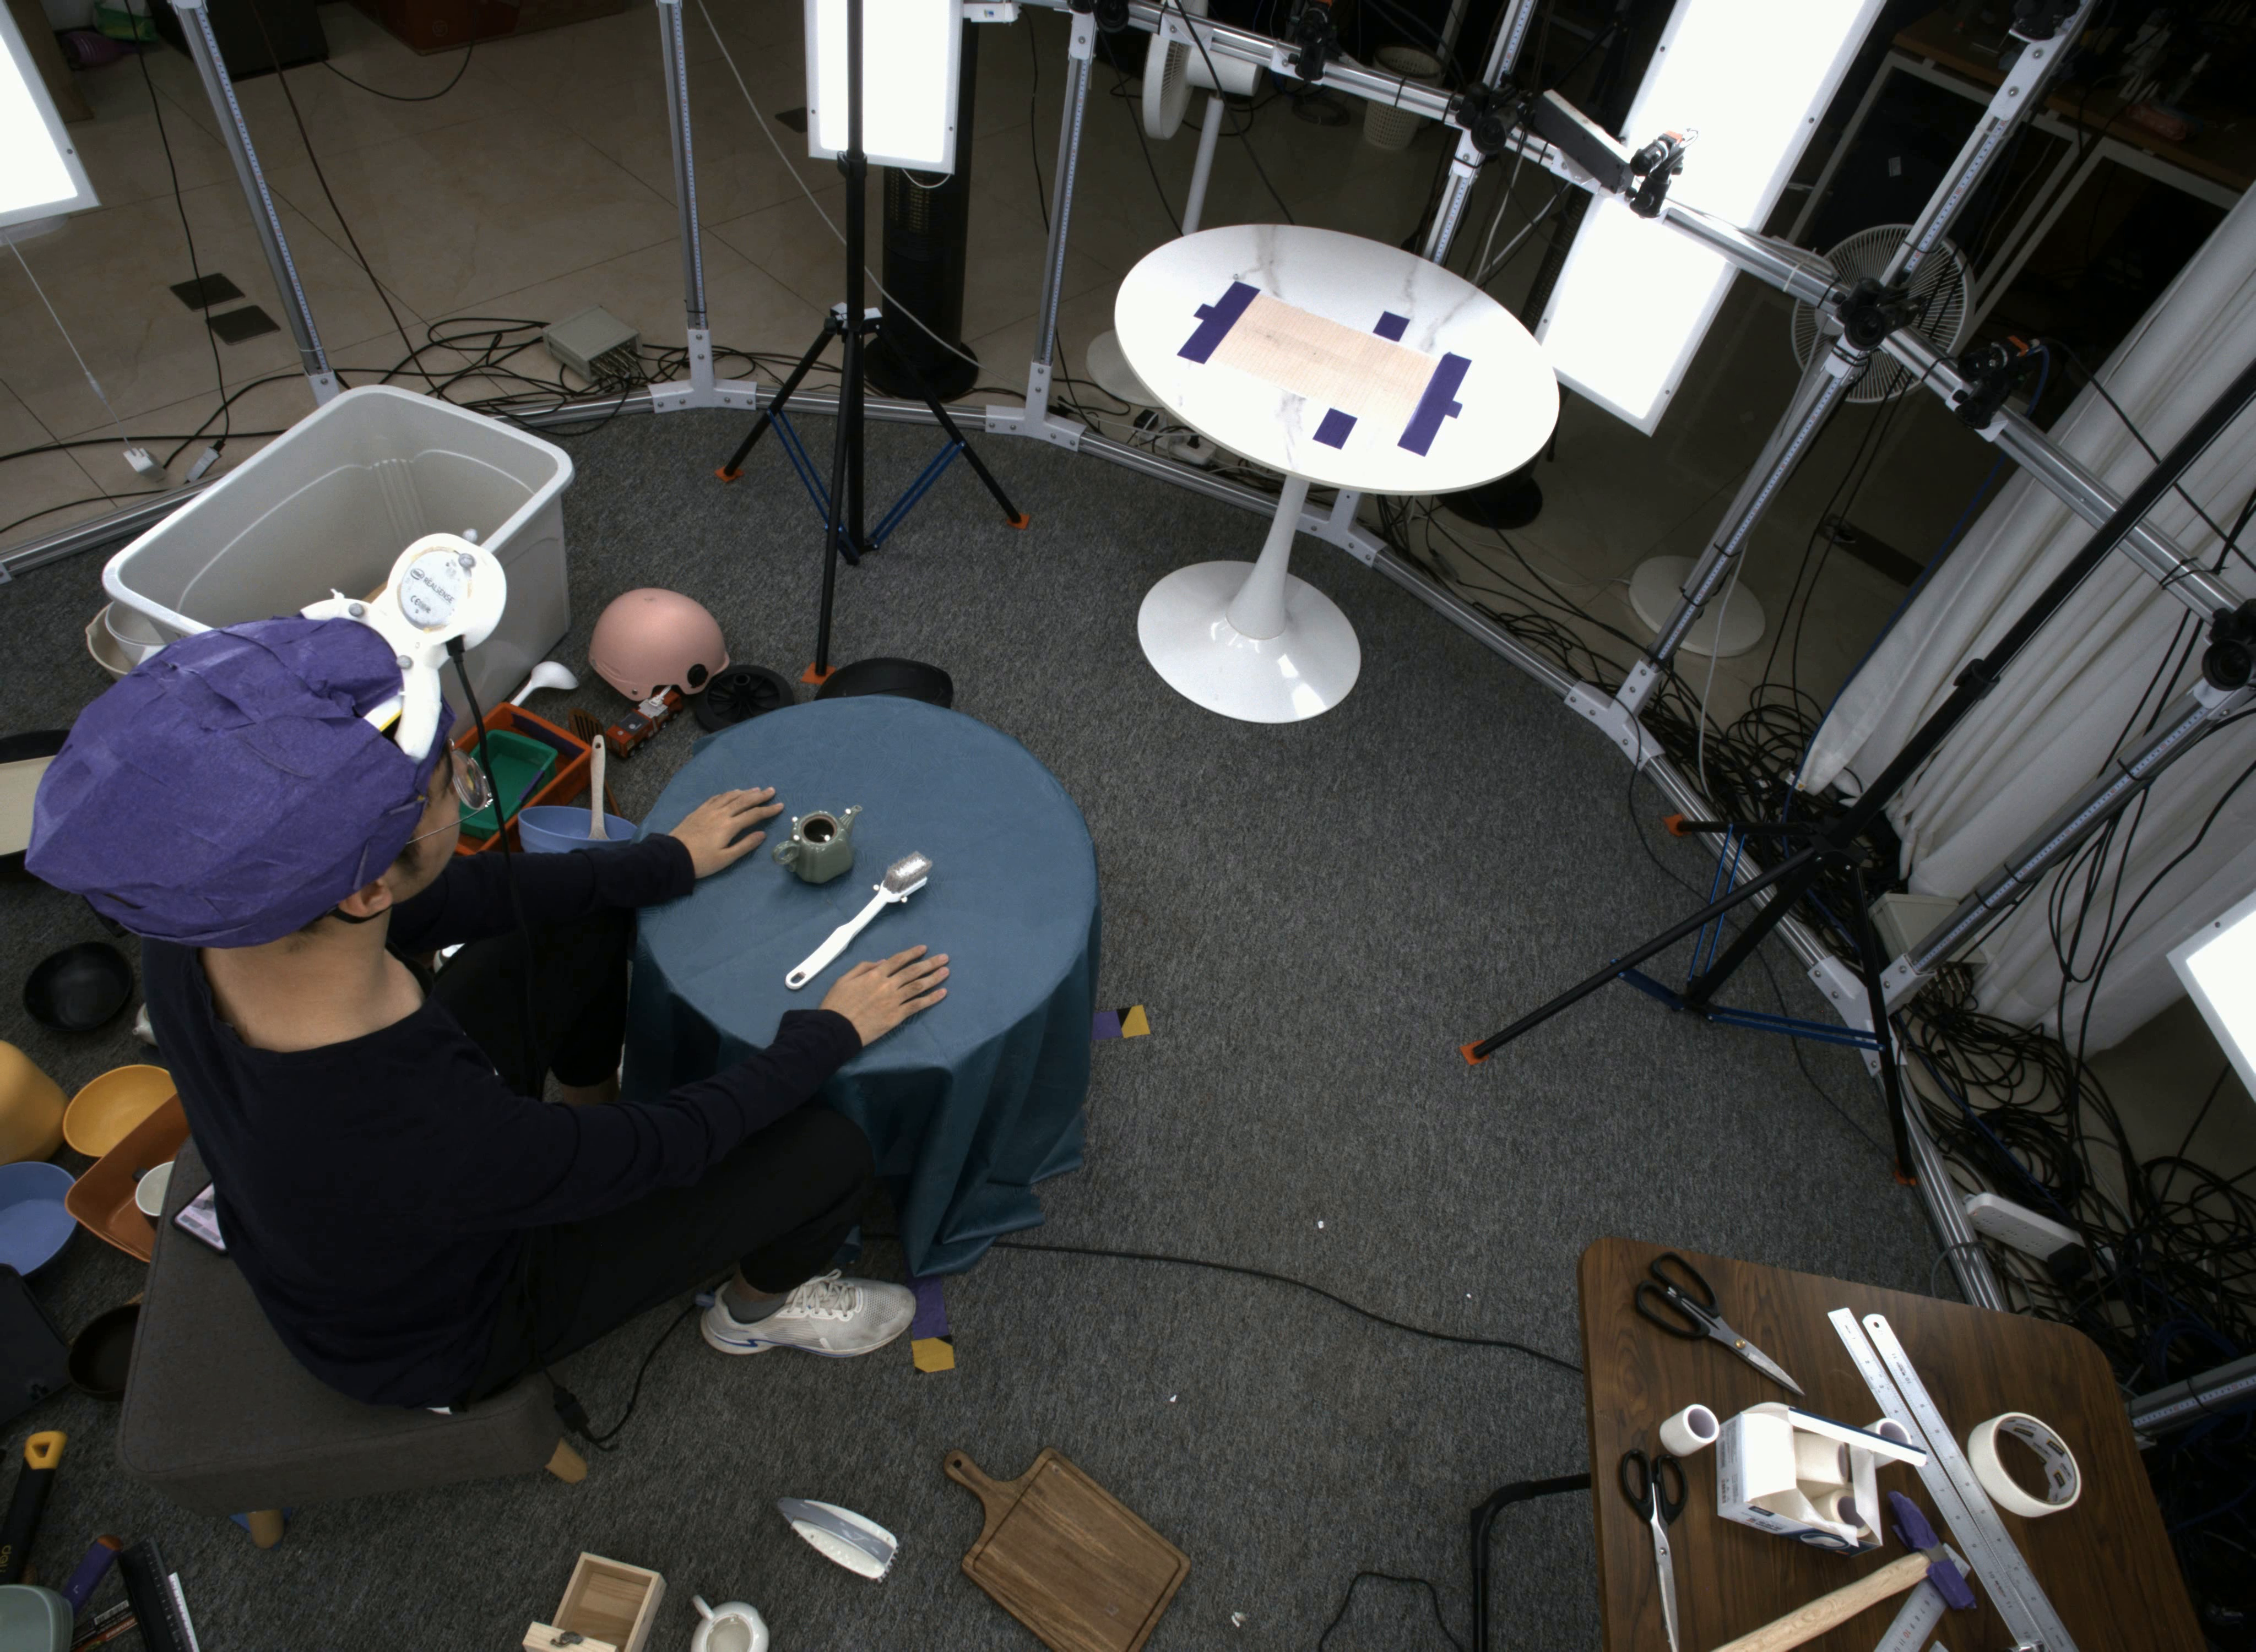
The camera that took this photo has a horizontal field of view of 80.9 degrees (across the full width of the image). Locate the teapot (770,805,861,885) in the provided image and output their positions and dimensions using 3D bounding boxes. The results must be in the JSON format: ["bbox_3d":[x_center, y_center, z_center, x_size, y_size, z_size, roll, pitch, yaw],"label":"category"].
[{"bbox_3d":[-0.398,0.023,1.667,0.133,0.077,0.078,-32,65,-30],"label":"teapot"}]

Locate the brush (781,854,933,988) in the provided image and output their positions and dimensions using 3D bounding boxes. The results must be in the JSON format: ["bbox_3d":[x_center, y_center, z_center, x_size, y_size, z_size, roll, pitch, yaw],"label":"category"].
[{"bbox_3d":[-0.340,0.113,1.632,0.034,0.051,0.244,40,55,14],"label":"brush"}]
